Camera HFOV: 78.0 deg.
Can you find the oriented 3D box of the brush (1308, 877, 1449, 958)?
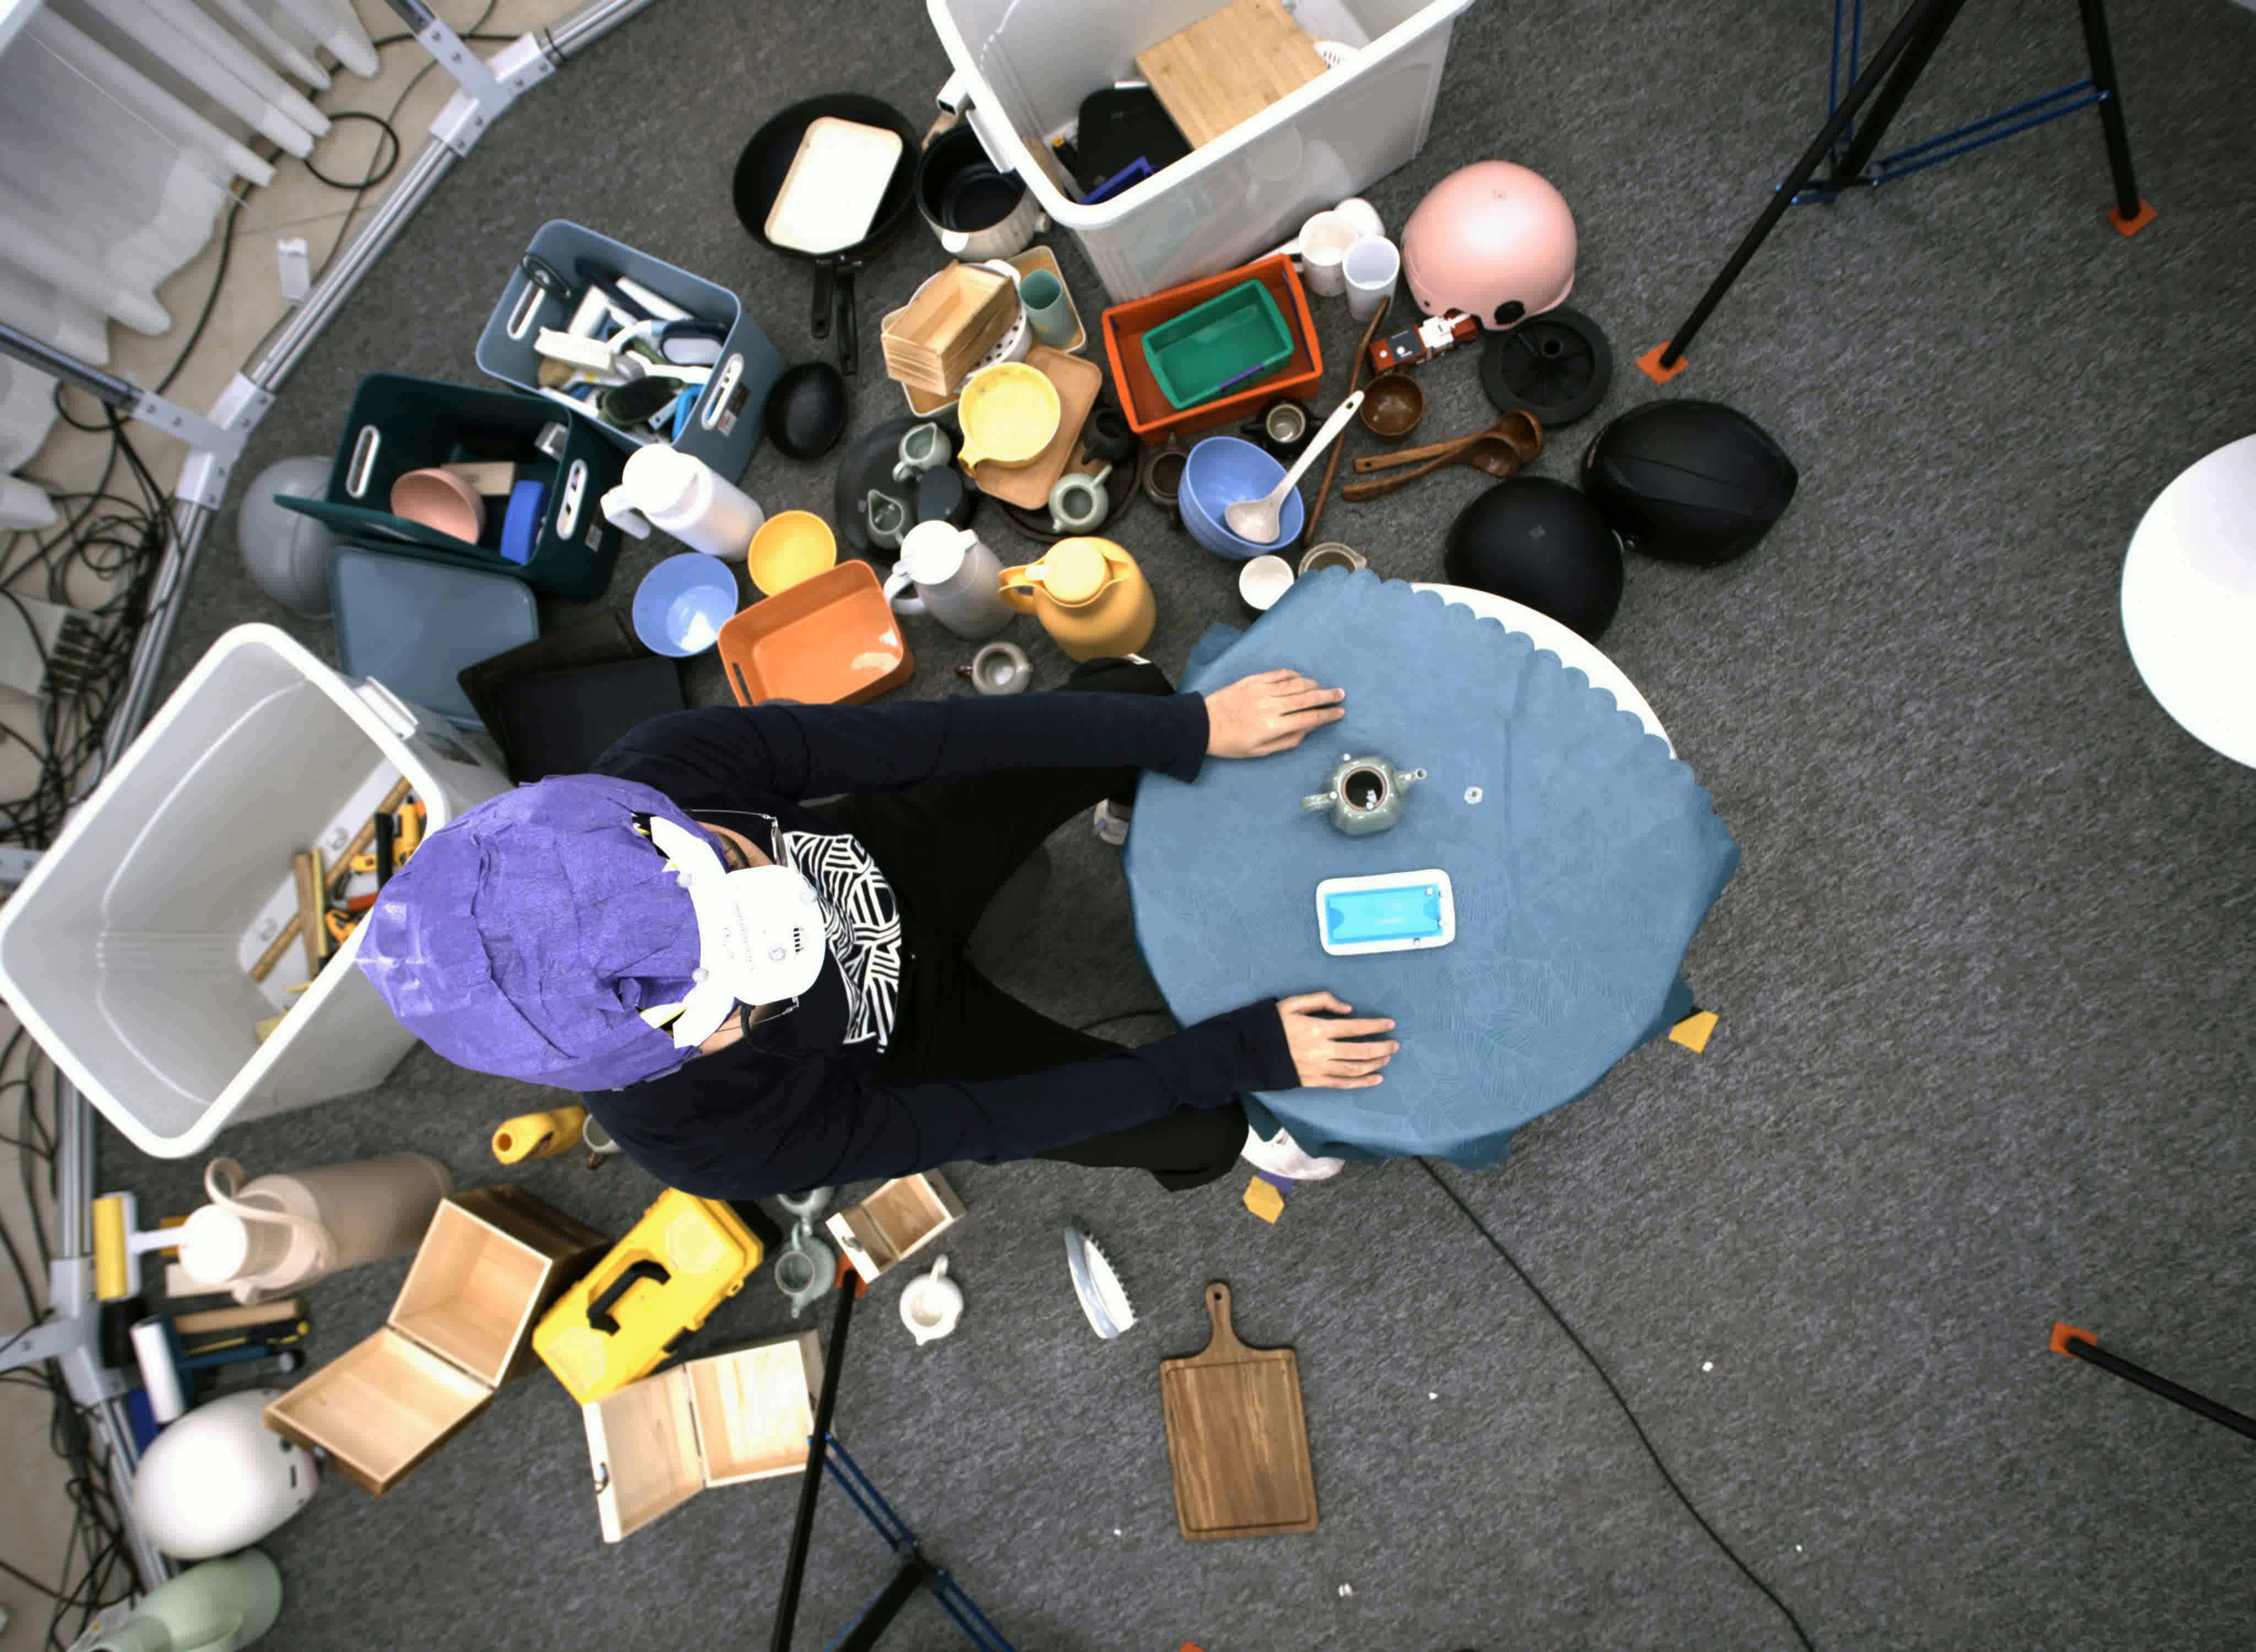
[{"bbox_3d":[0.259,0.090,1.428,0.144,0.056,0.083,-4,82,7],"label":"brush"}]

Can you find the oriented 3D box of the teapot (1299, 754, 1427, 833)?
[{"bbox_3d":[0.245,-0.037,1.432,0.133,0.075,0.079,-14,84,11],"label":"teapot"}]
